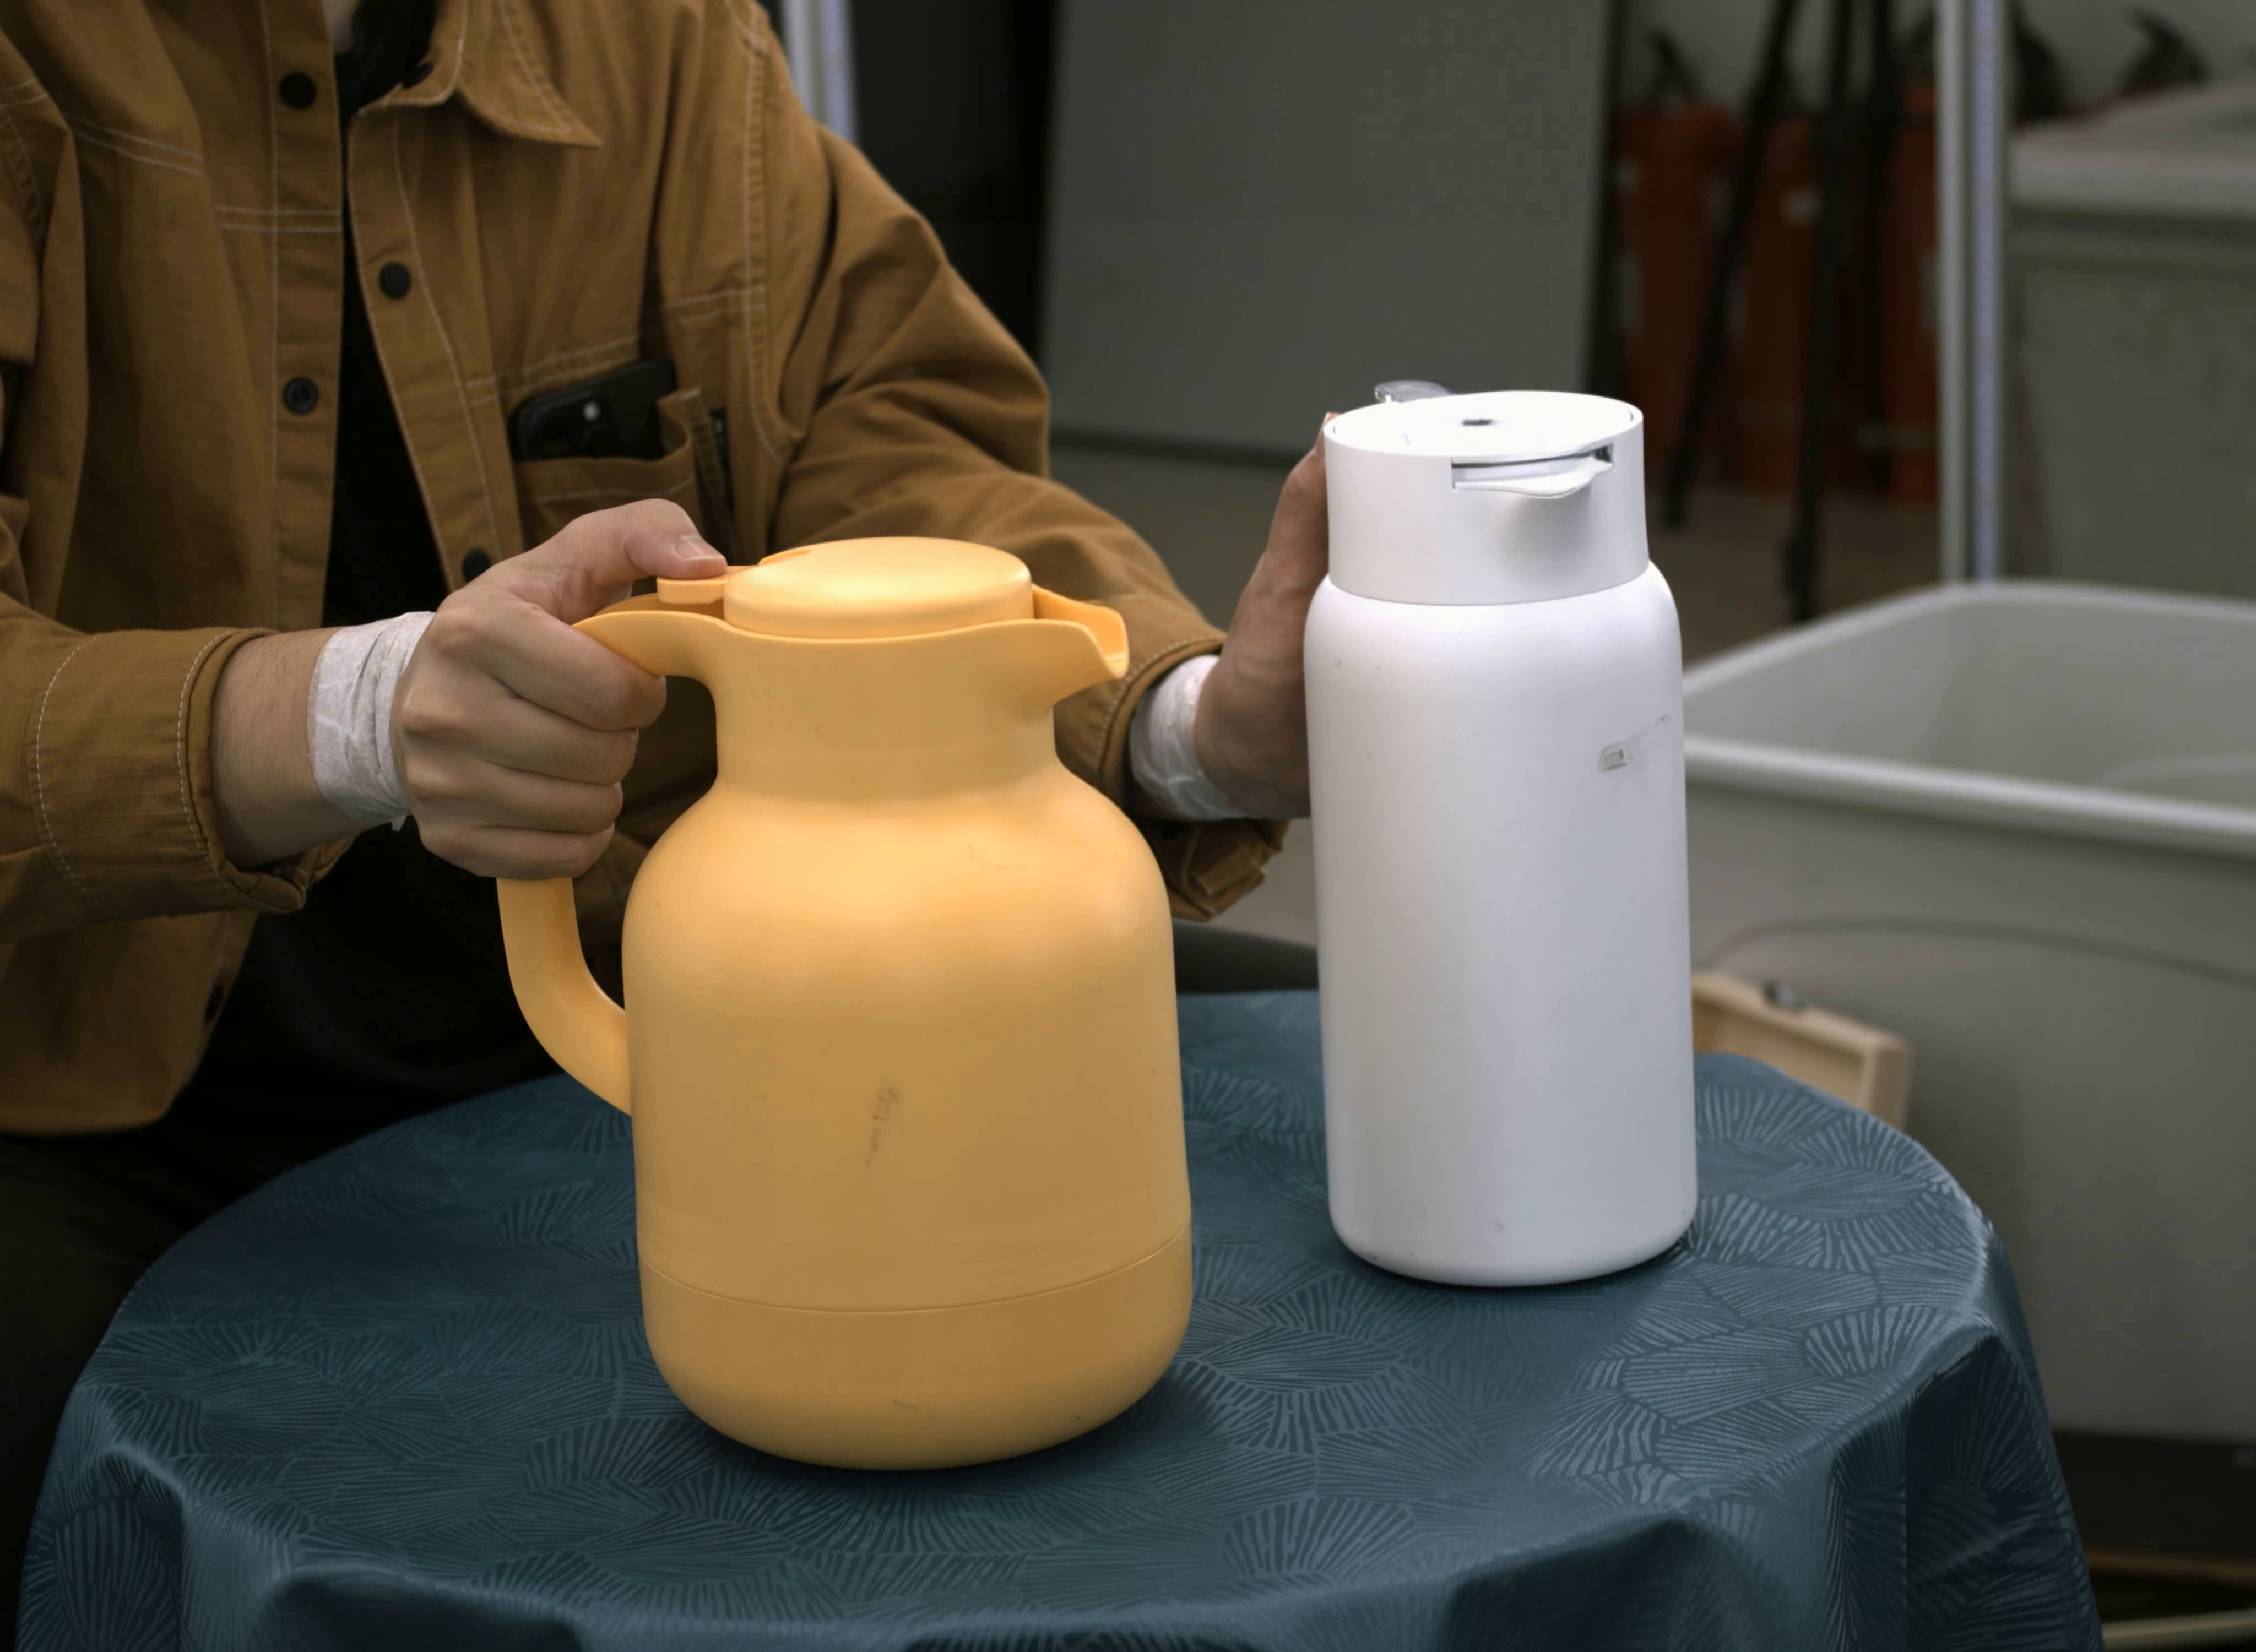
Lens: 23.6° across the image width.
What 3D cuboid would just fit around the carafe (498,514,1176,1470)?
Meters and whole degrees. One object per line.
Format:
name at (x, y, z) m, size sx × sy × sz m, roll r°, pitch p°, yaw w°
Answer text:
carafe at (-0.085, 0.042, 1.565) m, size 0.202 × 0.263 × 0.161 m, roll 4°, pitch 13°, yaw 22°

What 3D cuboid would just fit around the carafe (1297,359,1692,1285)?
carafe at (0.106, -0.005, 1.685) m, size 0.121 × 0.271 × 0.174 m, roll -10°, pitch 15°, yaw -16°
